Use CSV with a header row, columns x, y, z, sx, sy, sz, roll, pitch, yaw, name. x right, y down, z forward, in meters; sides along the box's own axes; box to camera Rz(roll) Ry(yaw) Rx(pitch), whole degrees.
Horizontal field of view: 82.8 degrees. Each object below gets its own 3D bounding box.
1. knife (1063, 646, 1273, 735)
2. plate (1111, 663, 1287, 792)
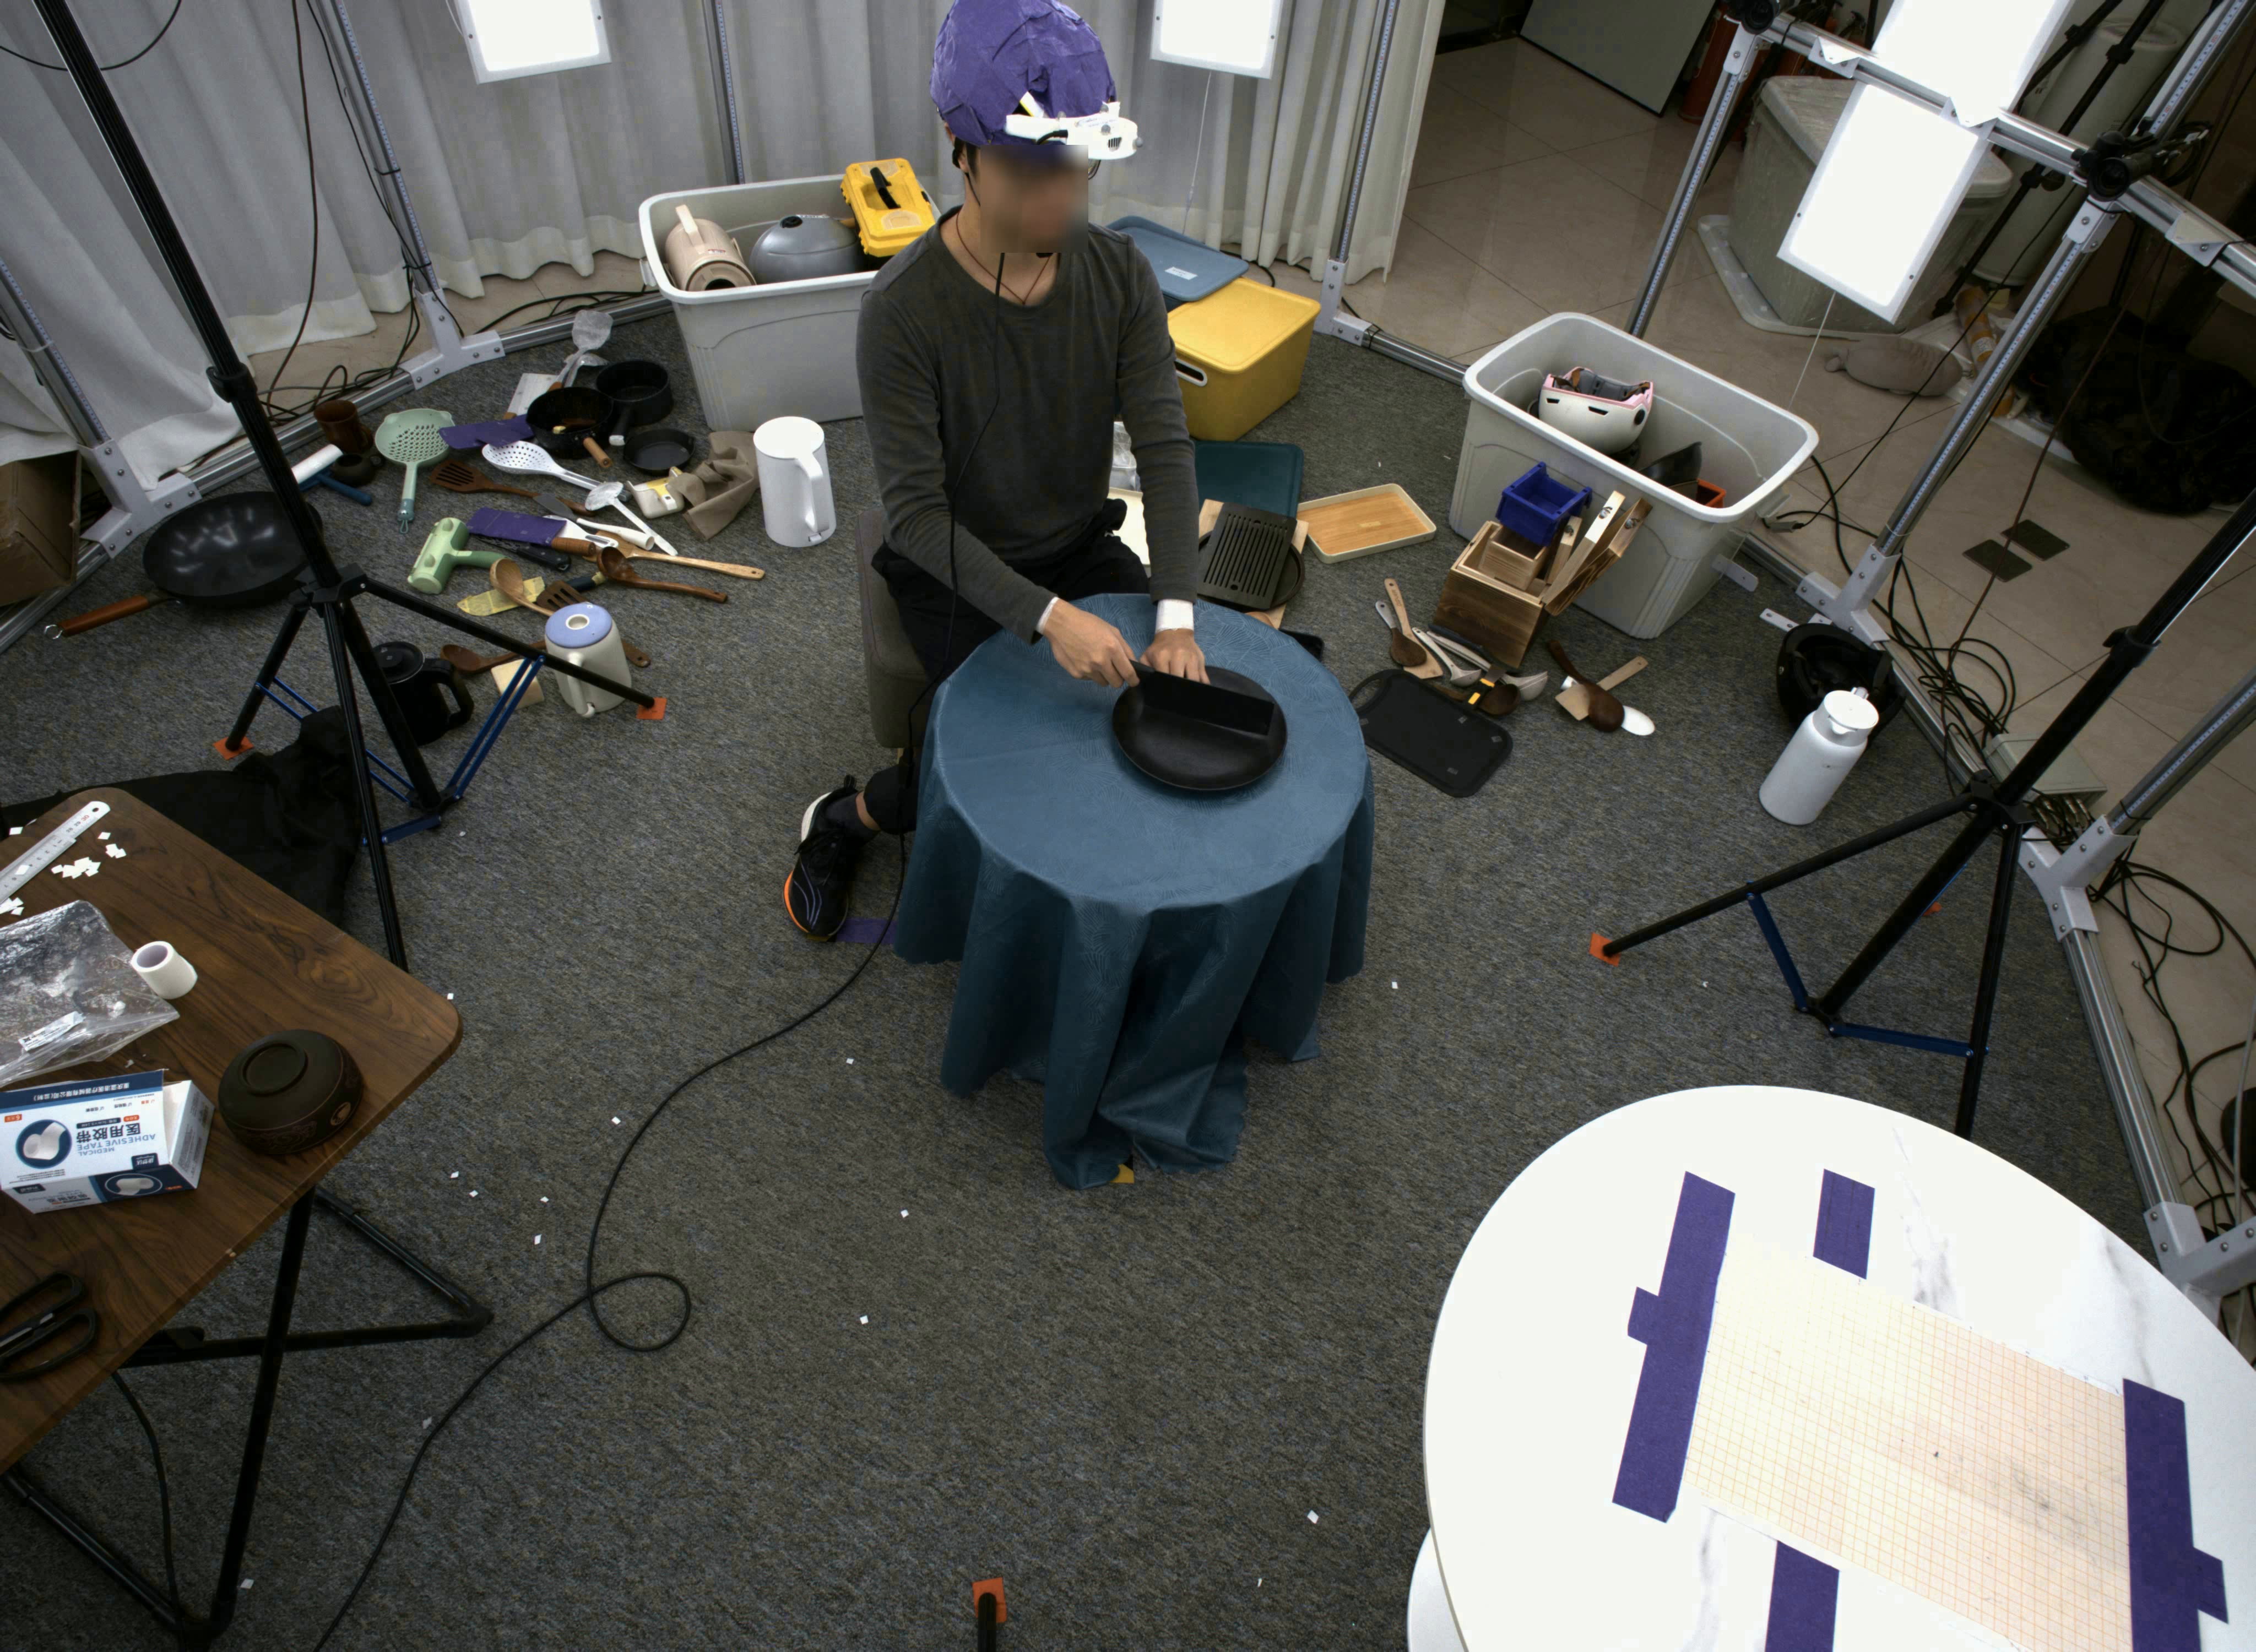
x,y,z,sx,sy,sz,roll,pitch,yaw,name
0.053,-0.189,1.773,0.303,0.079,0.021,20,45,8,knife
0.098,-0.134,1.775,0.244,0.023,0.250,2,49,-2,plate
